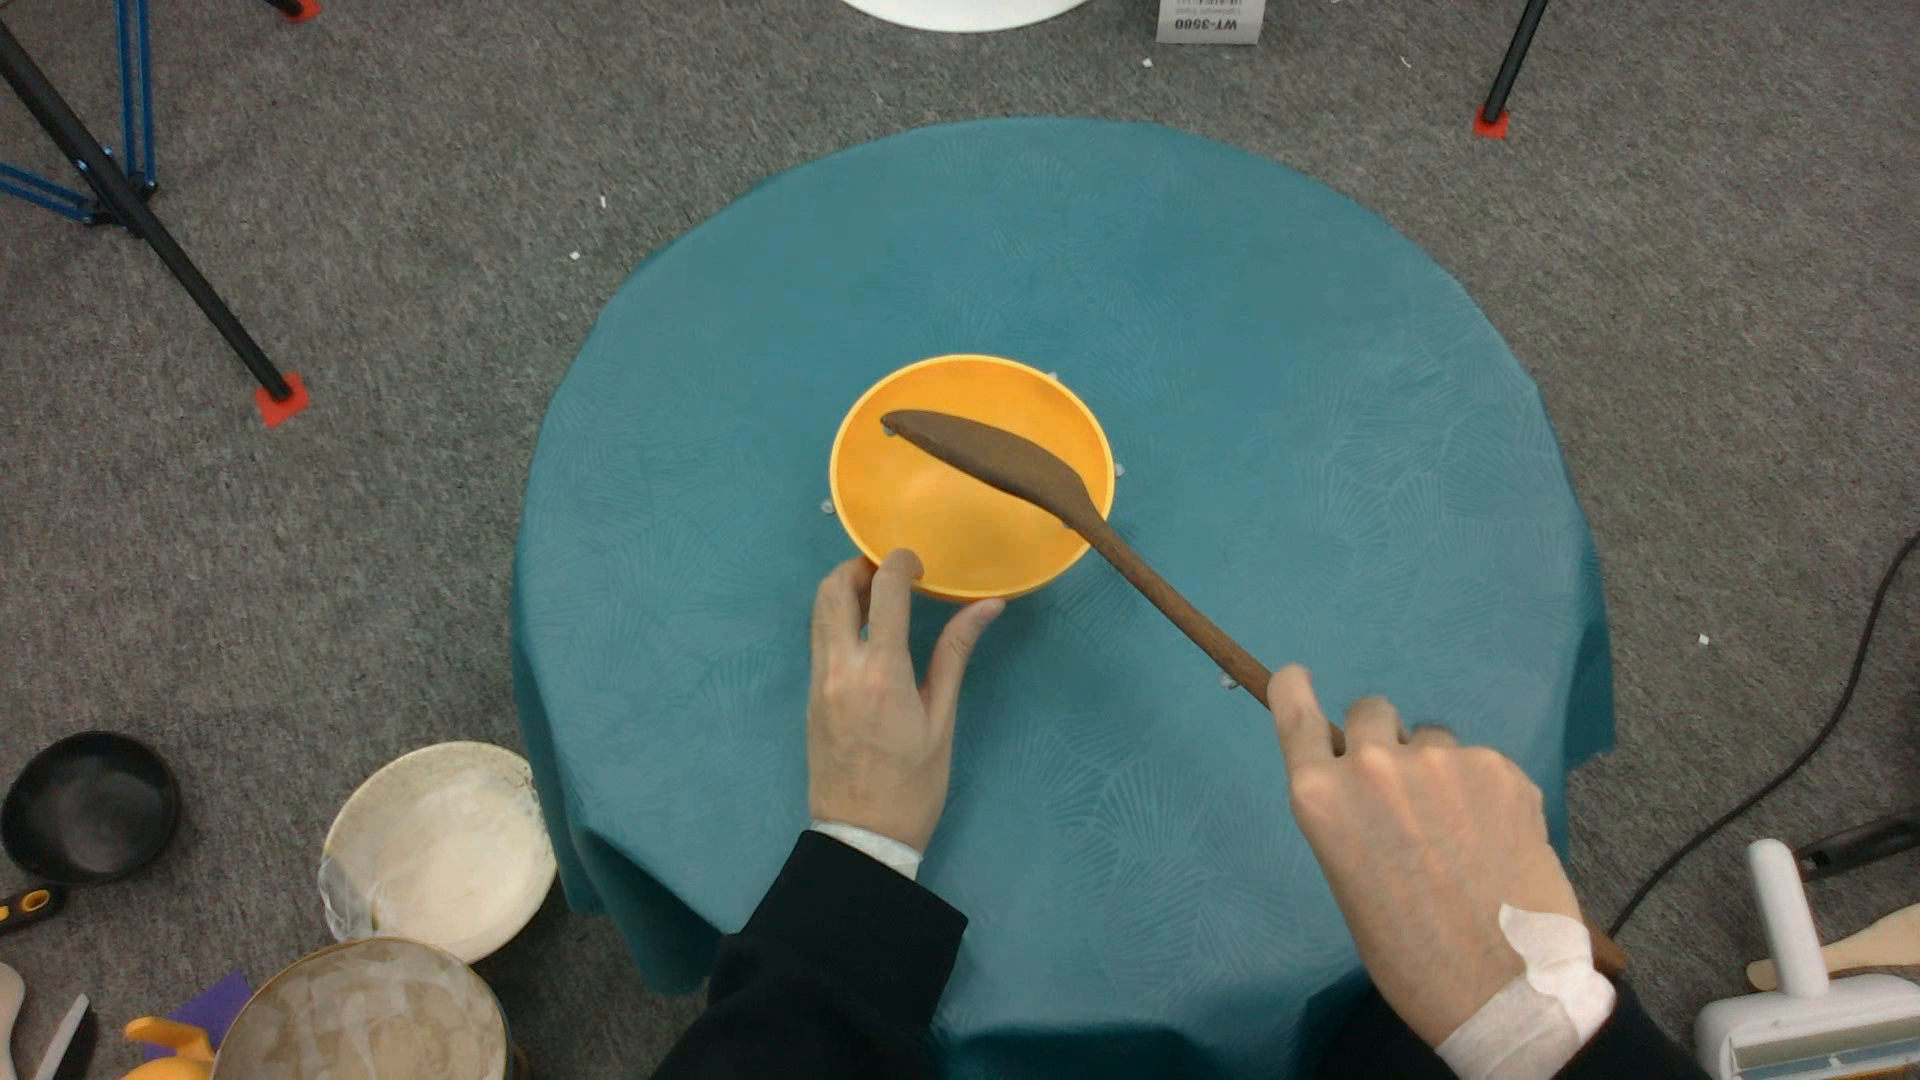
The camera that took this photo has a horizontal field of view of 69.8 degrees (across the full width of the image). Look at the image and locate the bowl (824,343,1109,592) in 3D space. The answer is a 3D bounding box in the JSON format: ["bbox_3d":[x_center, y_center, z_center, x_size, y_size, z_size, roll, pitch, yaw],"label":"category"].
[{"bbox_3d":[0.003,-0.029,0.722,0.145,0.060,0.146,0,62,-1],"label":"bowl"}]

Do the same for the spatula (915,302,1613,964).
[{"bbox_3d":[0.102,0.021,0.558,0.016,0.096,0.386,-41,58,-2],"label":"spatula"}]
